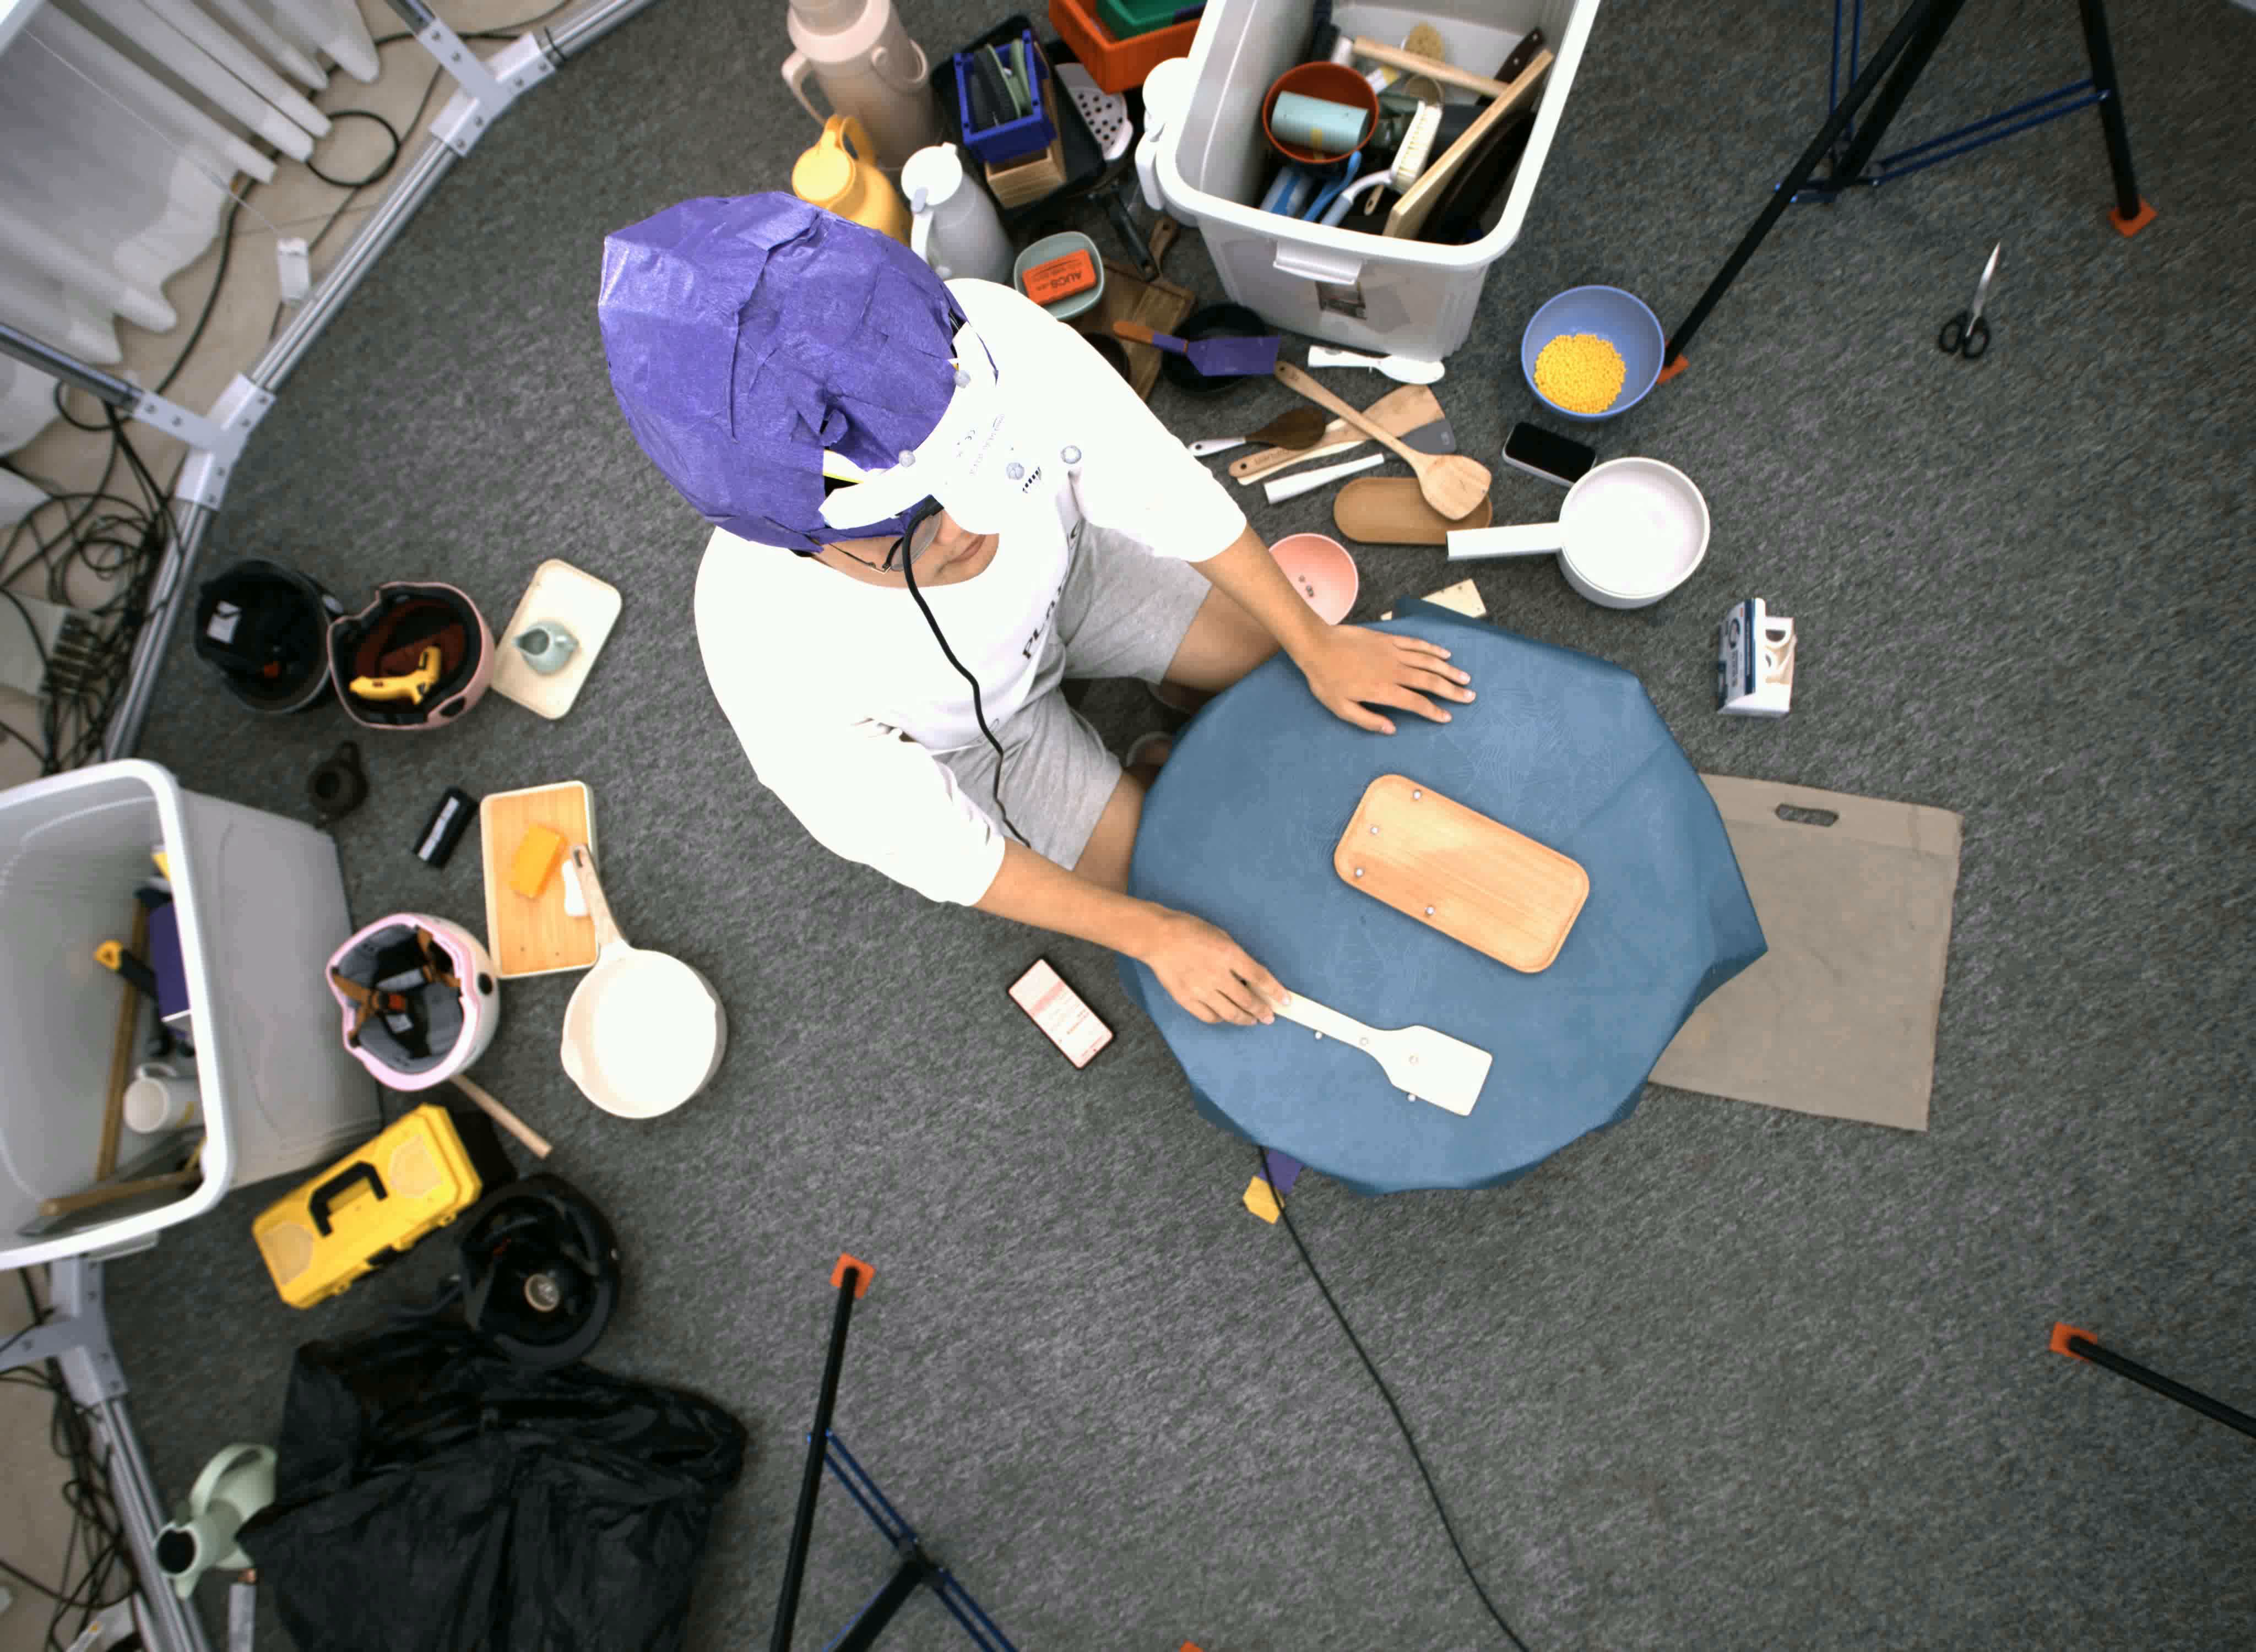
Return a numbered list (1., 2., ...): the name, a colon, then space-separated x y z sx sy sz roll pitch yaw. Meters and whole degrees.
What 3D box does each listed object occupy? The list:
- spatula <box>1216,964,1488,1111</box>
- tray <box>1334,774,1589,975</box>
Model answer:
1. spatula: 0.228 0.211 1.455 0.293 0.010 0.072 22 92 11
2. tray: 0.347 0.048 1.438 0.250 0.023 0.131 29 95 11
